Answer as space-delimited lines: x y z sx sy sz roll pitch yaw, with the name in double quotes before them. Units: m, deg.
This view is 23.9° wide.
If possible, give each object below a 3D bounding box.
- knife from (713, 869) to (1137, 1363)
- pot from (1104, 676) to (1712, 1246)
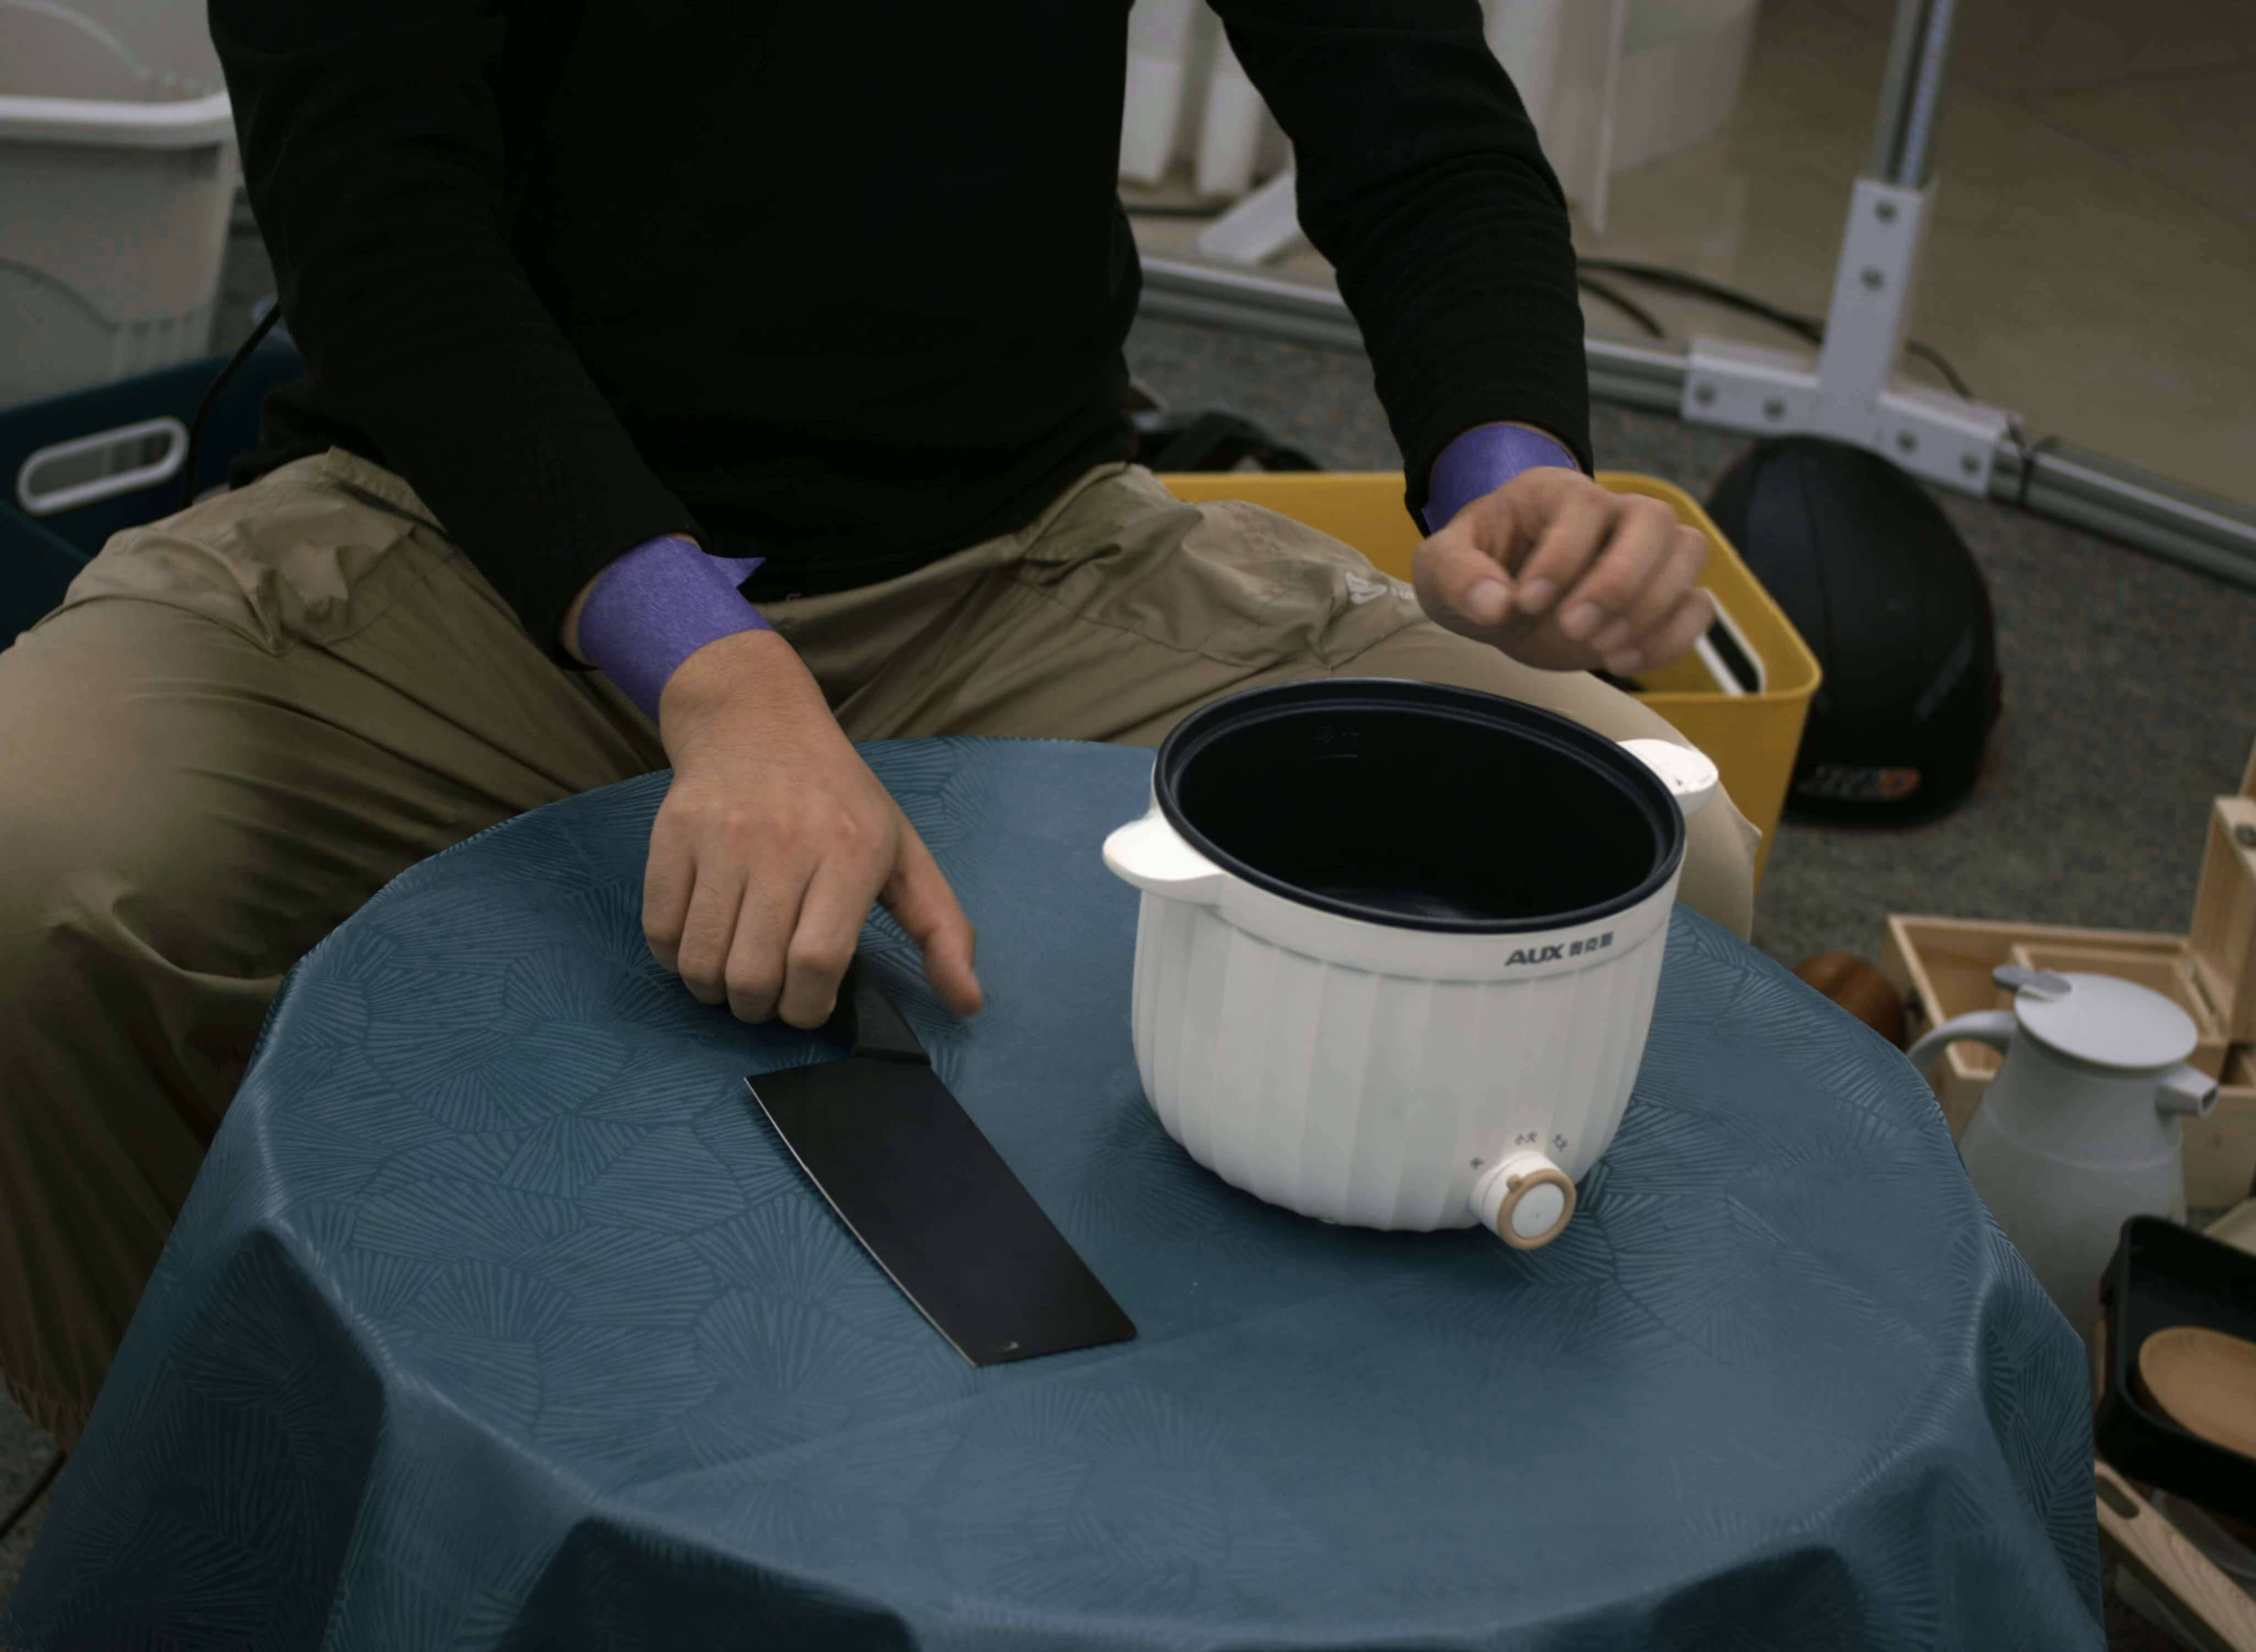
"knife" -0.085 0.096 1.825 0.080 0.021 0.305 -5 31 -21
"pot" 0.095 0.050 1.819 0.239 0.142 0.192 -11 28 -28
